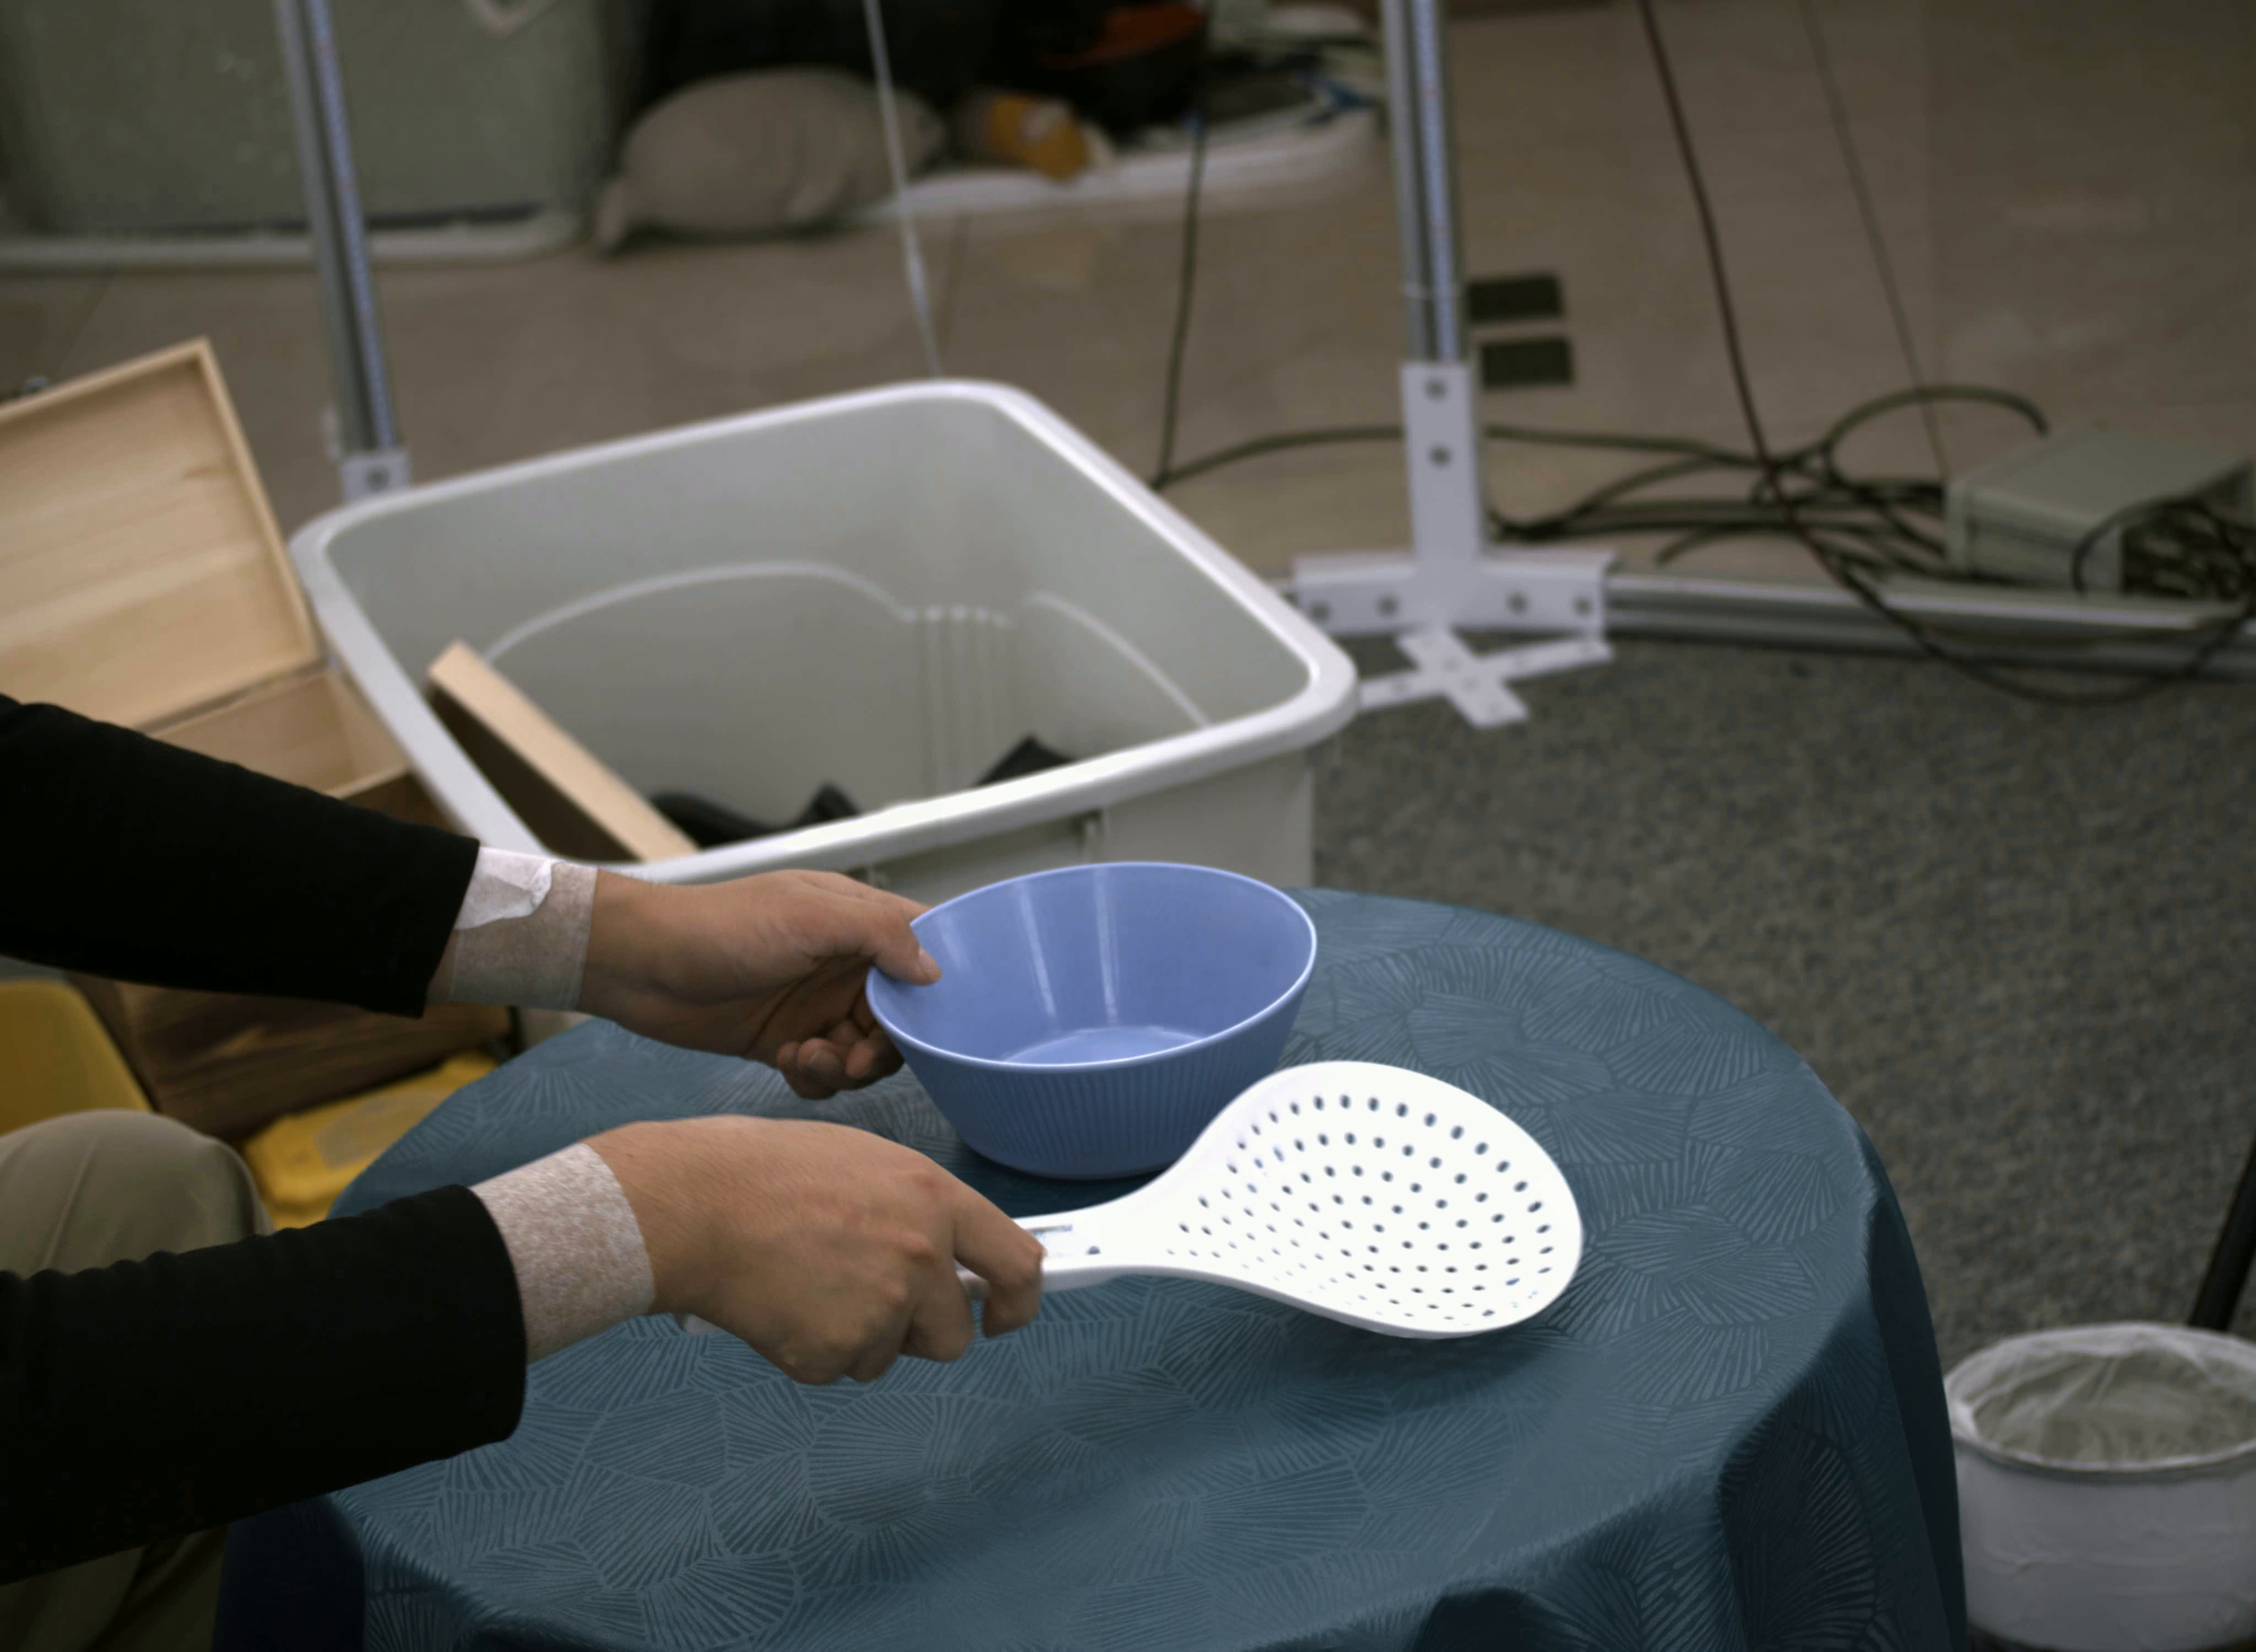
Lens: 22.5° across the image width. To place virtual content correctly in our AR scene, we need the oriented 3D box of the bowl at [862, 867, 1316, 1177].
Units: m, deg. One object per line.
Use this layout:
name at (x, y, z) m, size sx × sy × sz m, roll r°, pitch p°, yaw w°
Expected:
bowl at (-0.012, 0.081, 2.191) m, size 0.176 × 0.071 × 0.173 m, roll -6°, pitch 25°, yaw 3°

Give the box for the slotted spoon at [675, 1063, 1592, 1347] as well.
slotted spoon at (0.004, 0.148, 1.986) m, size 0.349 × 0.046 × 0.134 m, roll -2°, pitch 43°, yaw -31°
